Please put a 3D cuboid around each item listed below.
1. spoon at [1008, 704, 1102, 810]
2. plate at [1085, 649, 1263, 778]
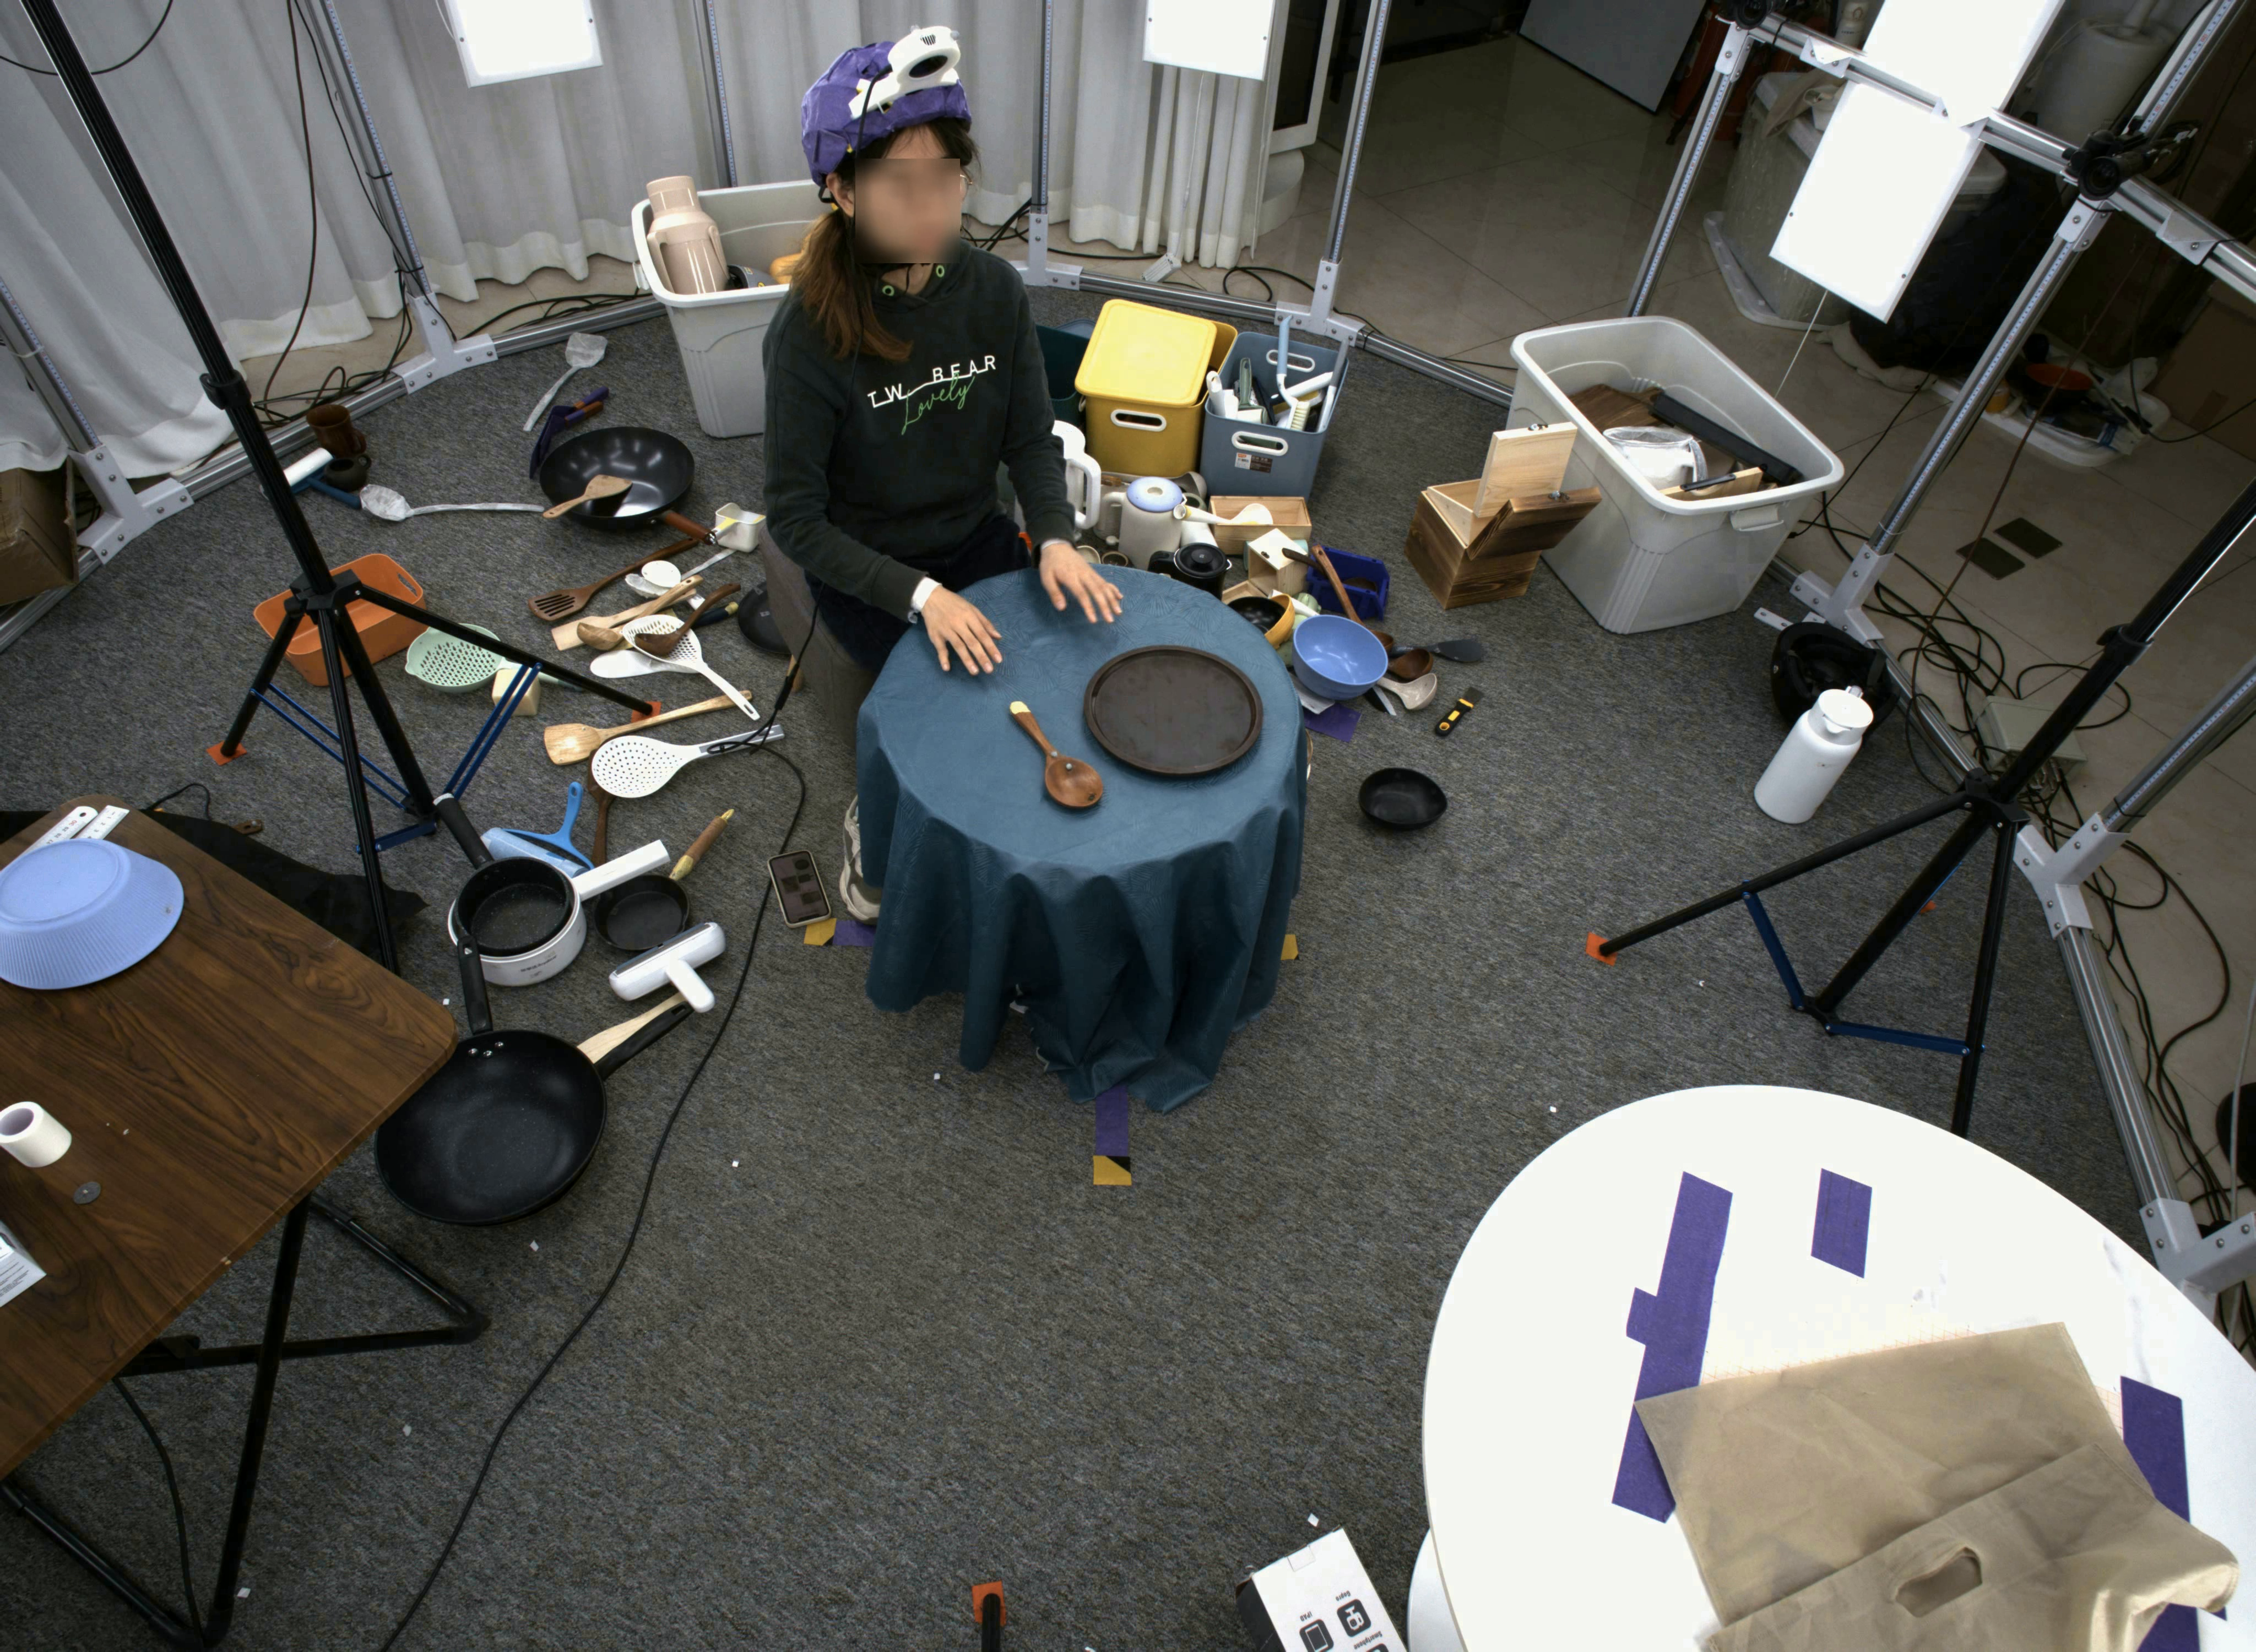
[{"bbox_3d":[-0.106,-0.095,1.750,0.076,0.017,0.220,-22,54,-21],"label":"spoon"},{"bbox_3d":[0.065,-0.161,1.814,0.254,0.028,0.261,2,49,-3],"label":"plate"}]
